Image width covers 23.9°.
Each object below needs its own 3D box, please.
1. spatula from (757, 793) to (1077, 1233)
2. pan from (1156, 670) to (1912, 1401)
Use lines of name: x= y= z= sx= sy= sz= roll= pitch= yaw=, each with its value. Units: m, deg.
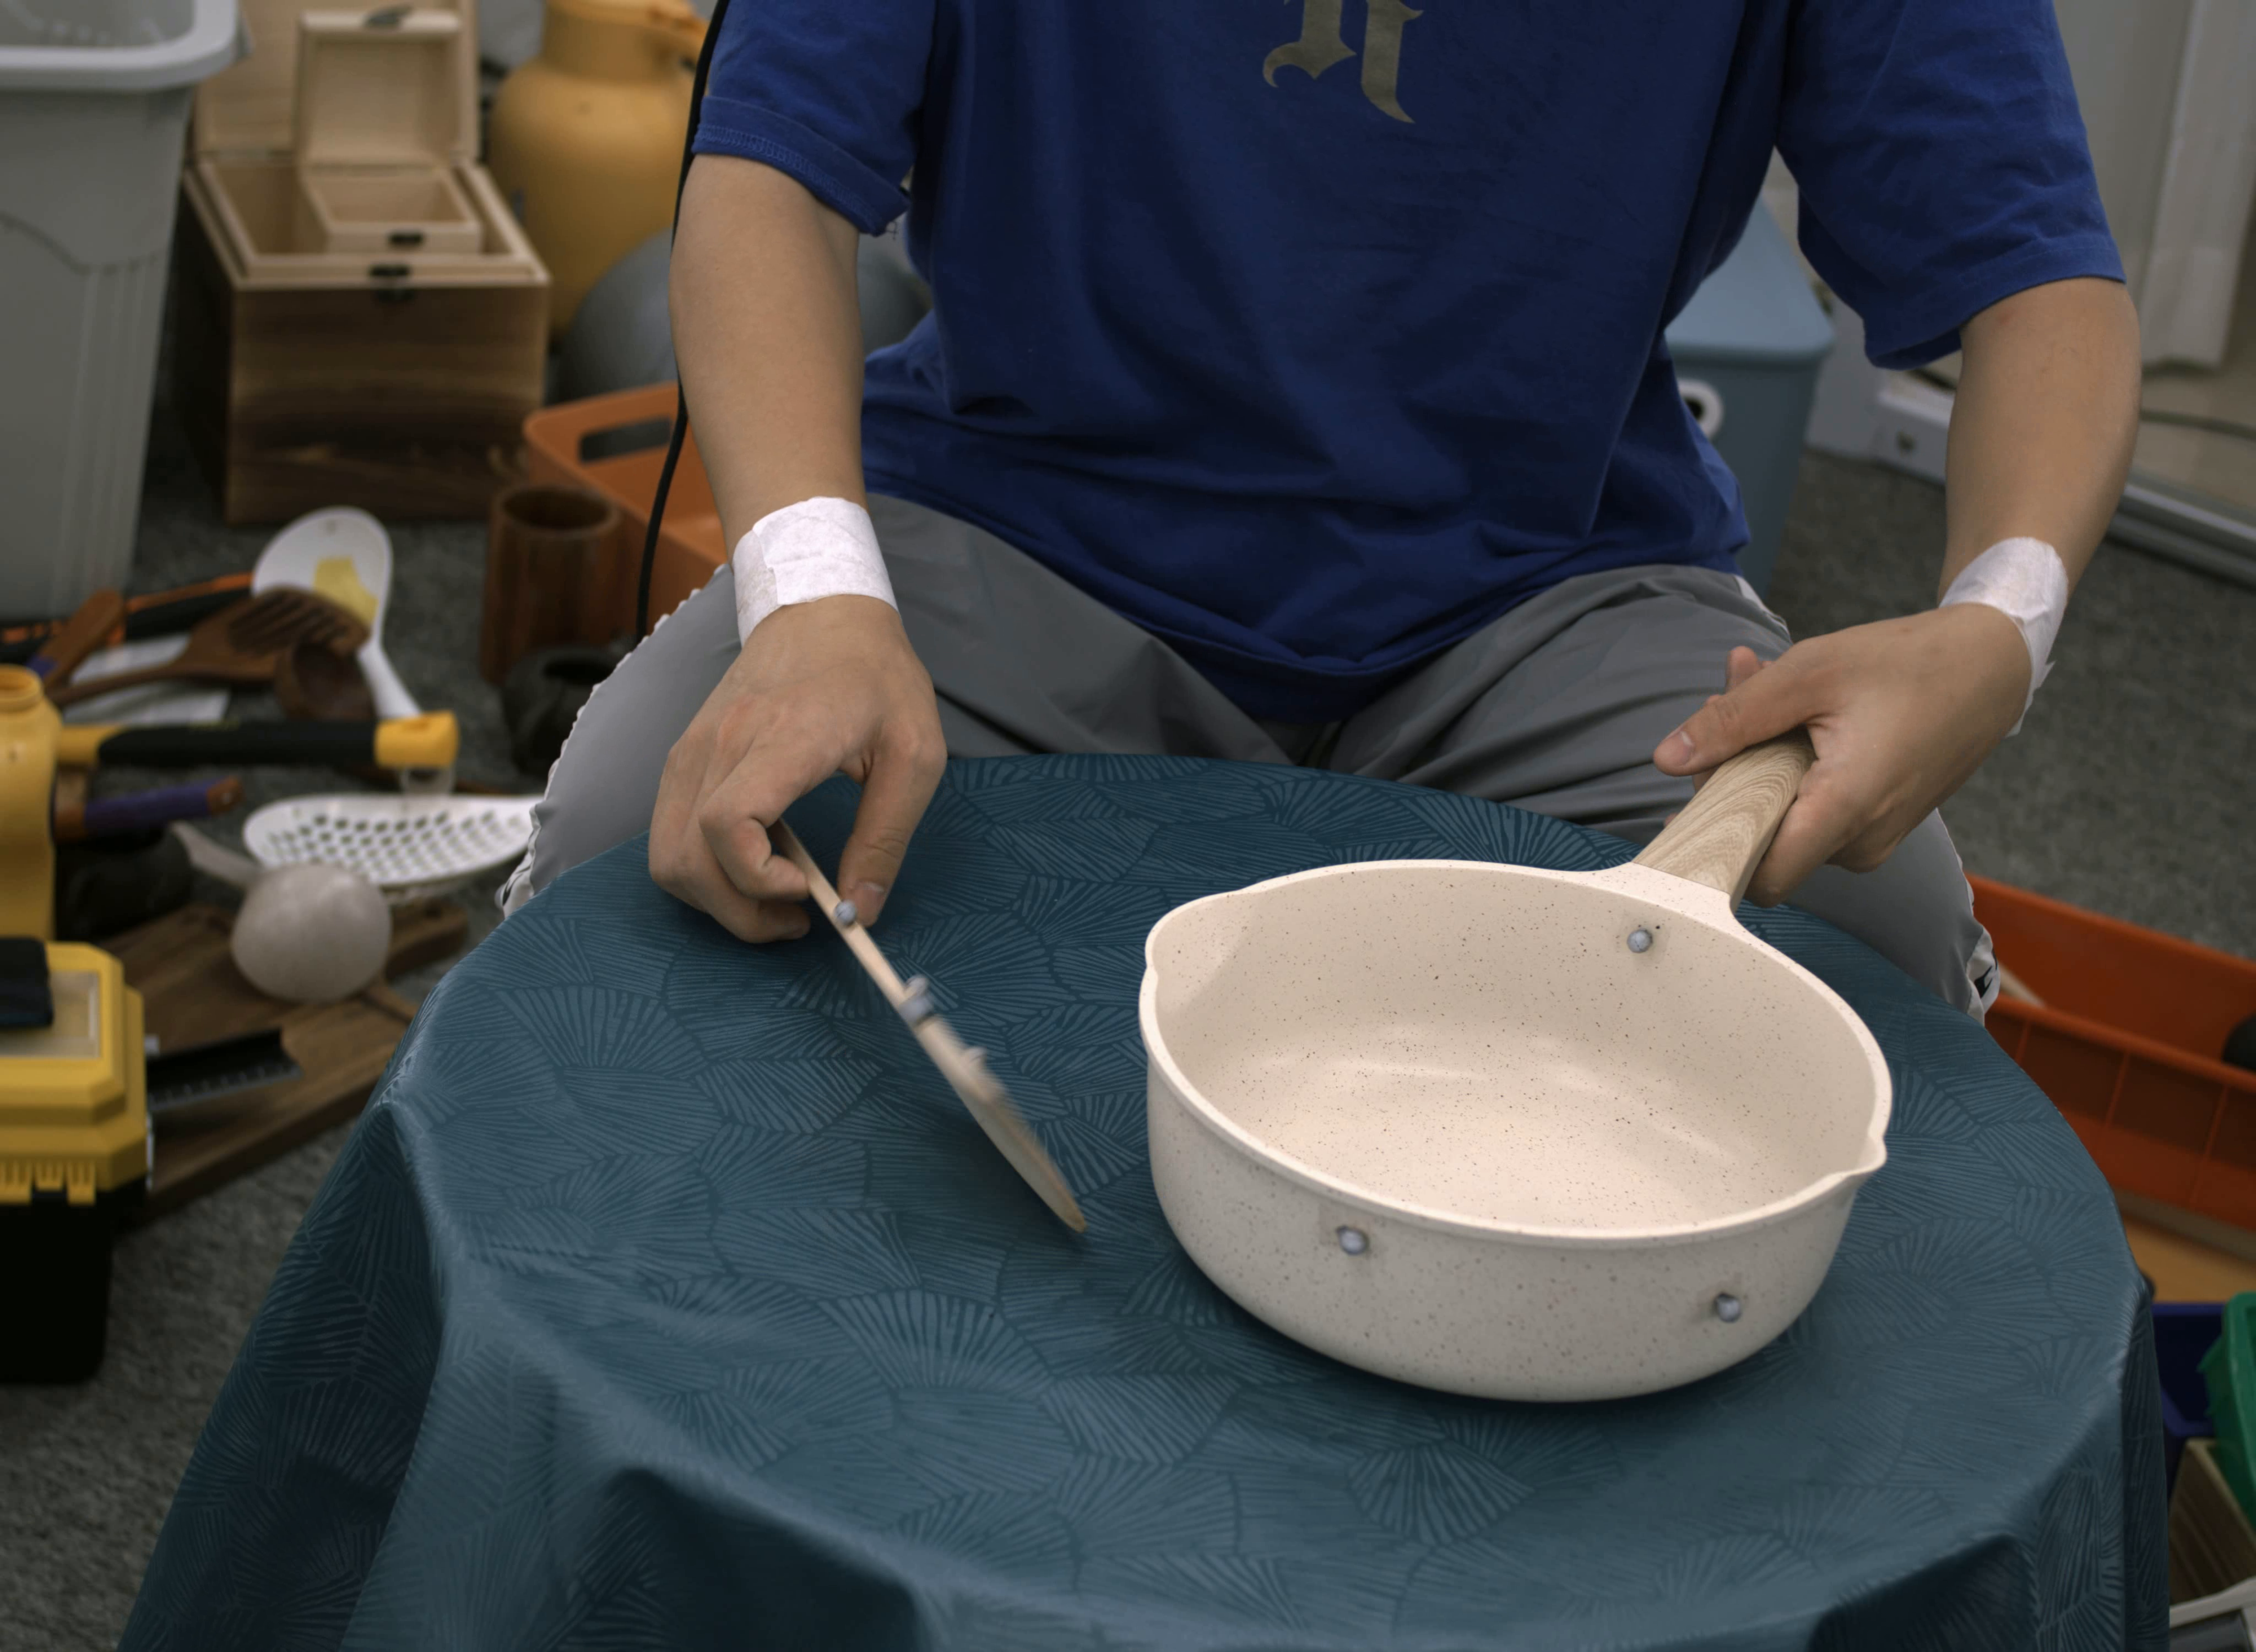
spatula: x=-0.085 y=0.055 z=1.870 sx=0.071 sy=0.010 sz=0.295 roll=45 pitch=4 yaw=-32
pan: x=0.171 y=0.066 z=1.847 sx=0.264 sy=0.101 sz=0.434 roll=16 pitch=28 yaw=22
